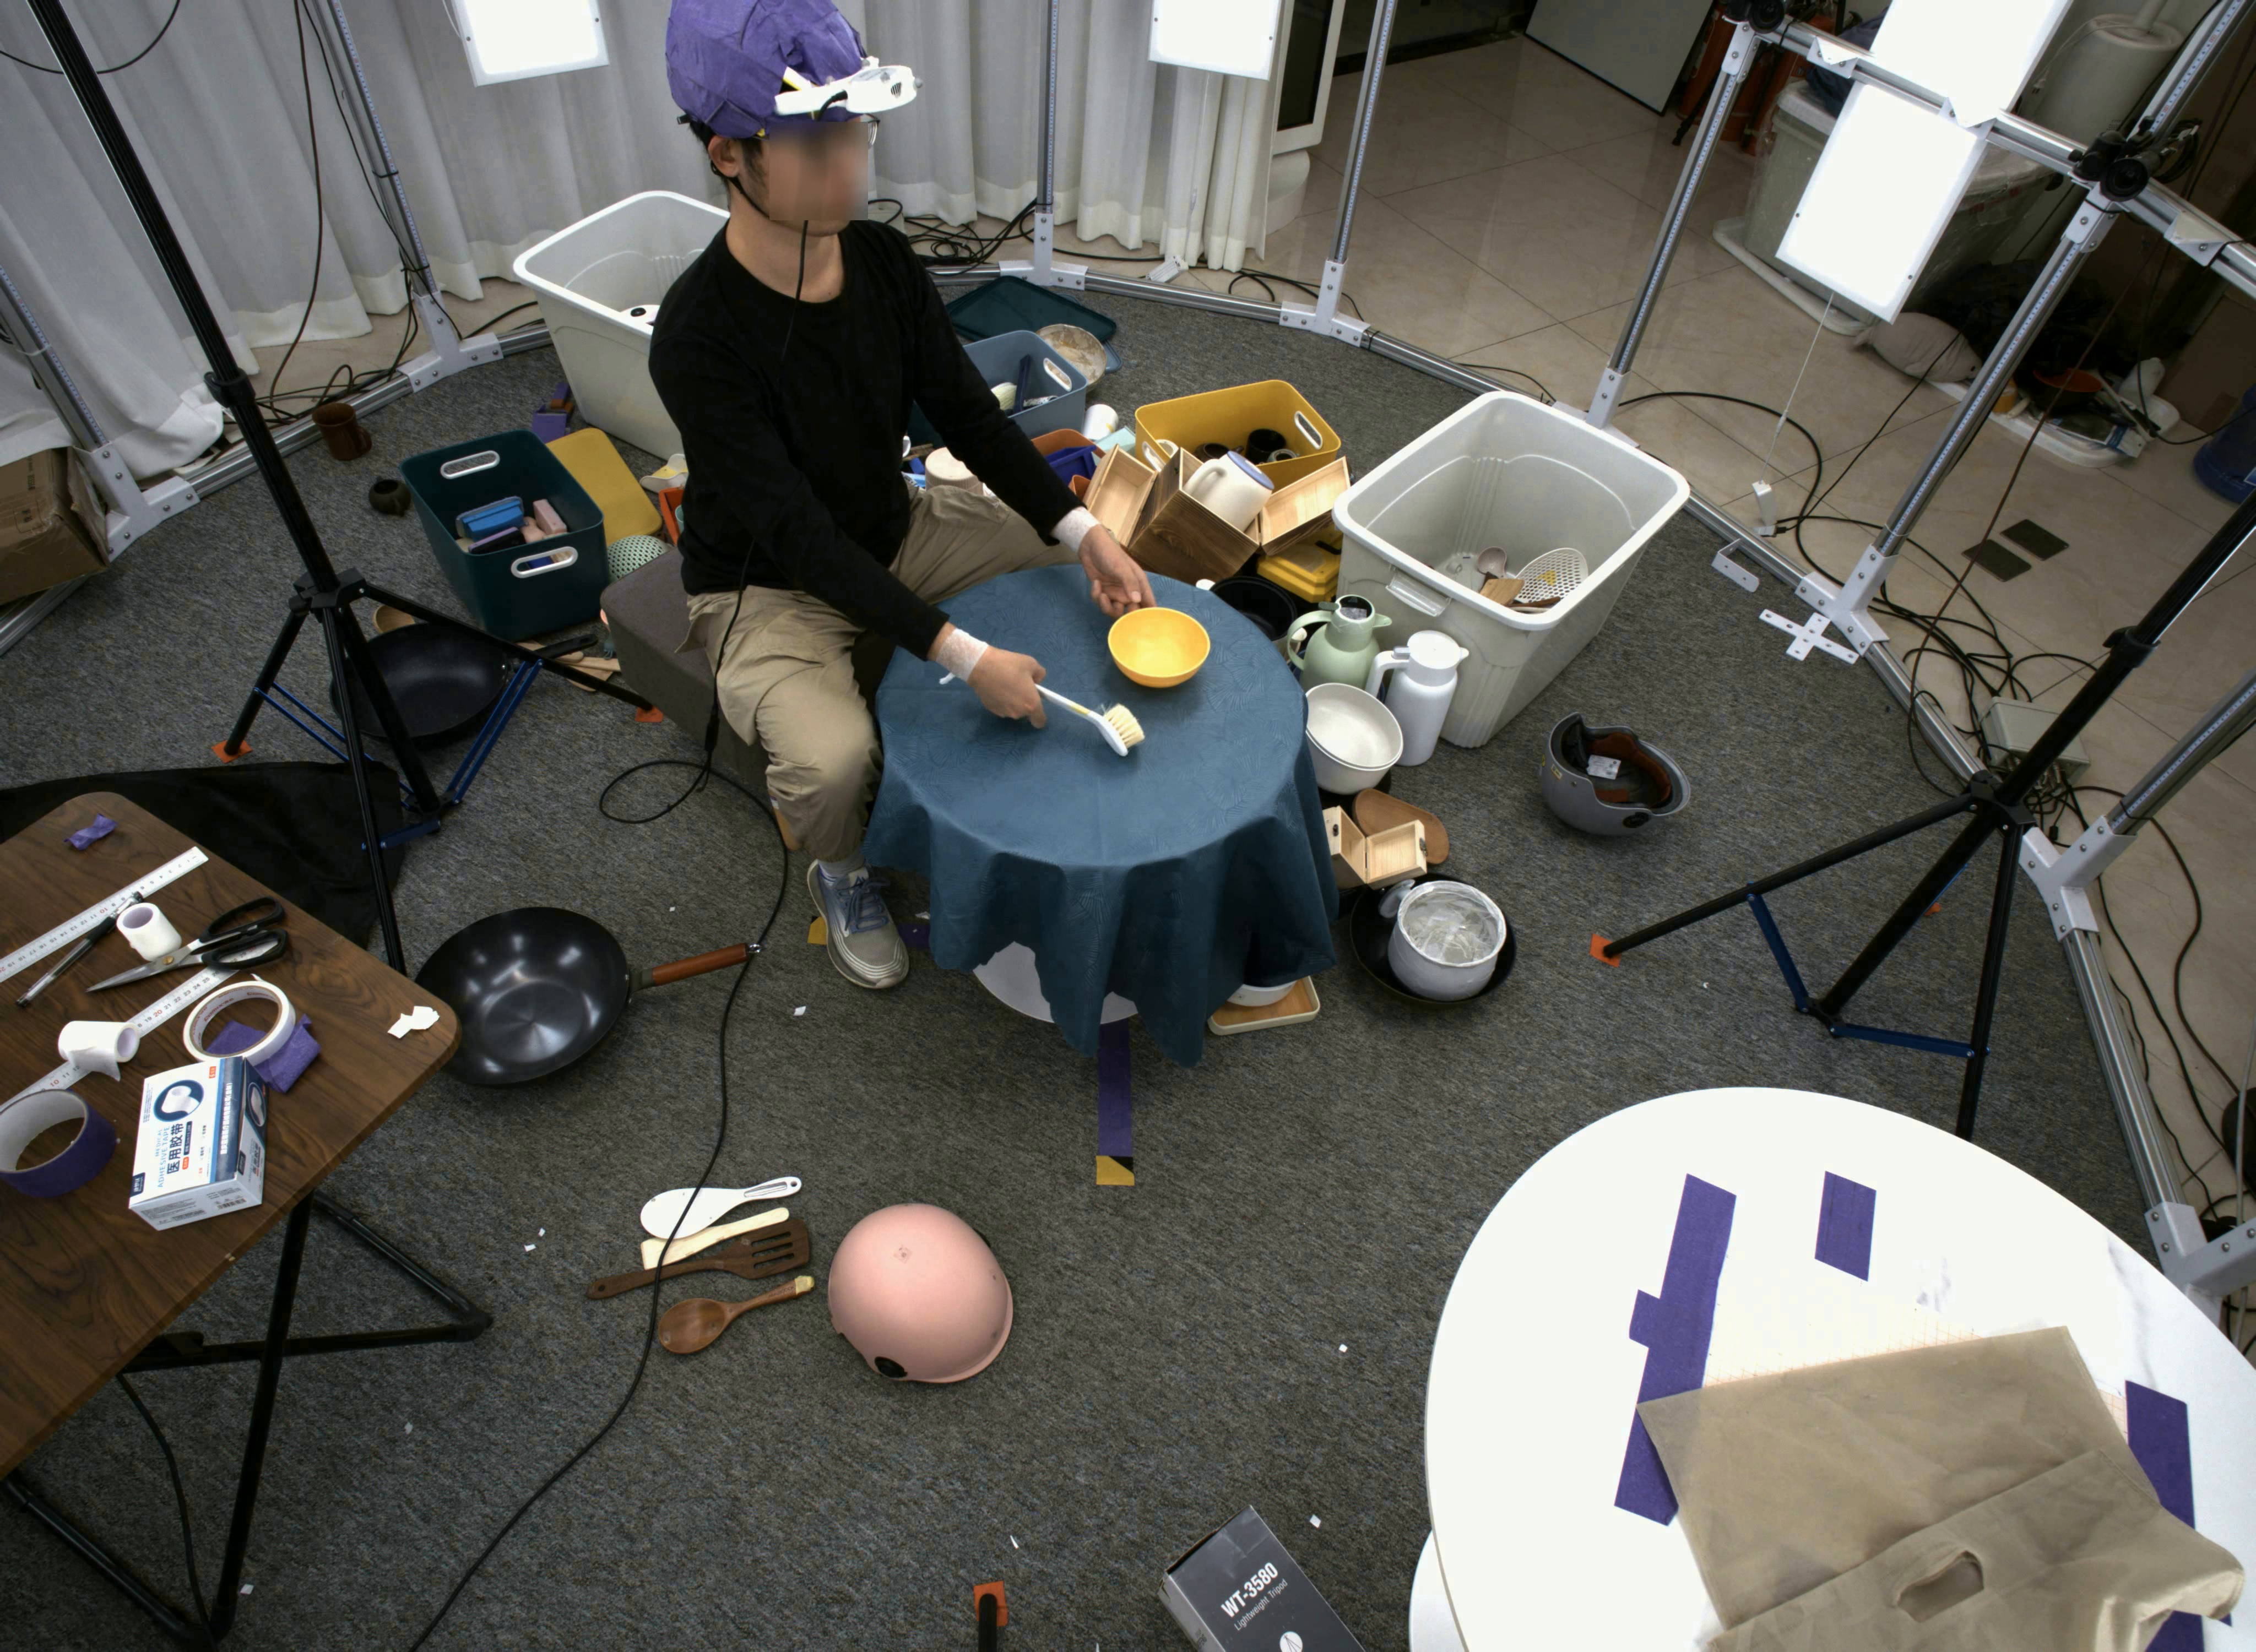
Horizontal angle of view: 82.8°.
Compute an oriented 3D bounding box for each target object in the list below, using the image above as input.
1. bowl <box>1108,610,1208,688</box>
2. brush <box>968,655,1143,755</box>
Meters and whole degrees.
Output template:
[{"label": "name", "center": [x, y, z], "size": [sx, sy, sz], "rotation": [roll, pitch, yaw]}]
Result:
[{"label": "bowl", "center": [0.041, -0.243, 1.846], "size": [0.145, 0.058, 0.149], "rotation": [2, 48, -3]}, {"label": "brush", "center": [-0.095, -0.184, 1.756], "size": [0.268, 0.067, 0.057], "rotation": [31, 70, 12]}]
